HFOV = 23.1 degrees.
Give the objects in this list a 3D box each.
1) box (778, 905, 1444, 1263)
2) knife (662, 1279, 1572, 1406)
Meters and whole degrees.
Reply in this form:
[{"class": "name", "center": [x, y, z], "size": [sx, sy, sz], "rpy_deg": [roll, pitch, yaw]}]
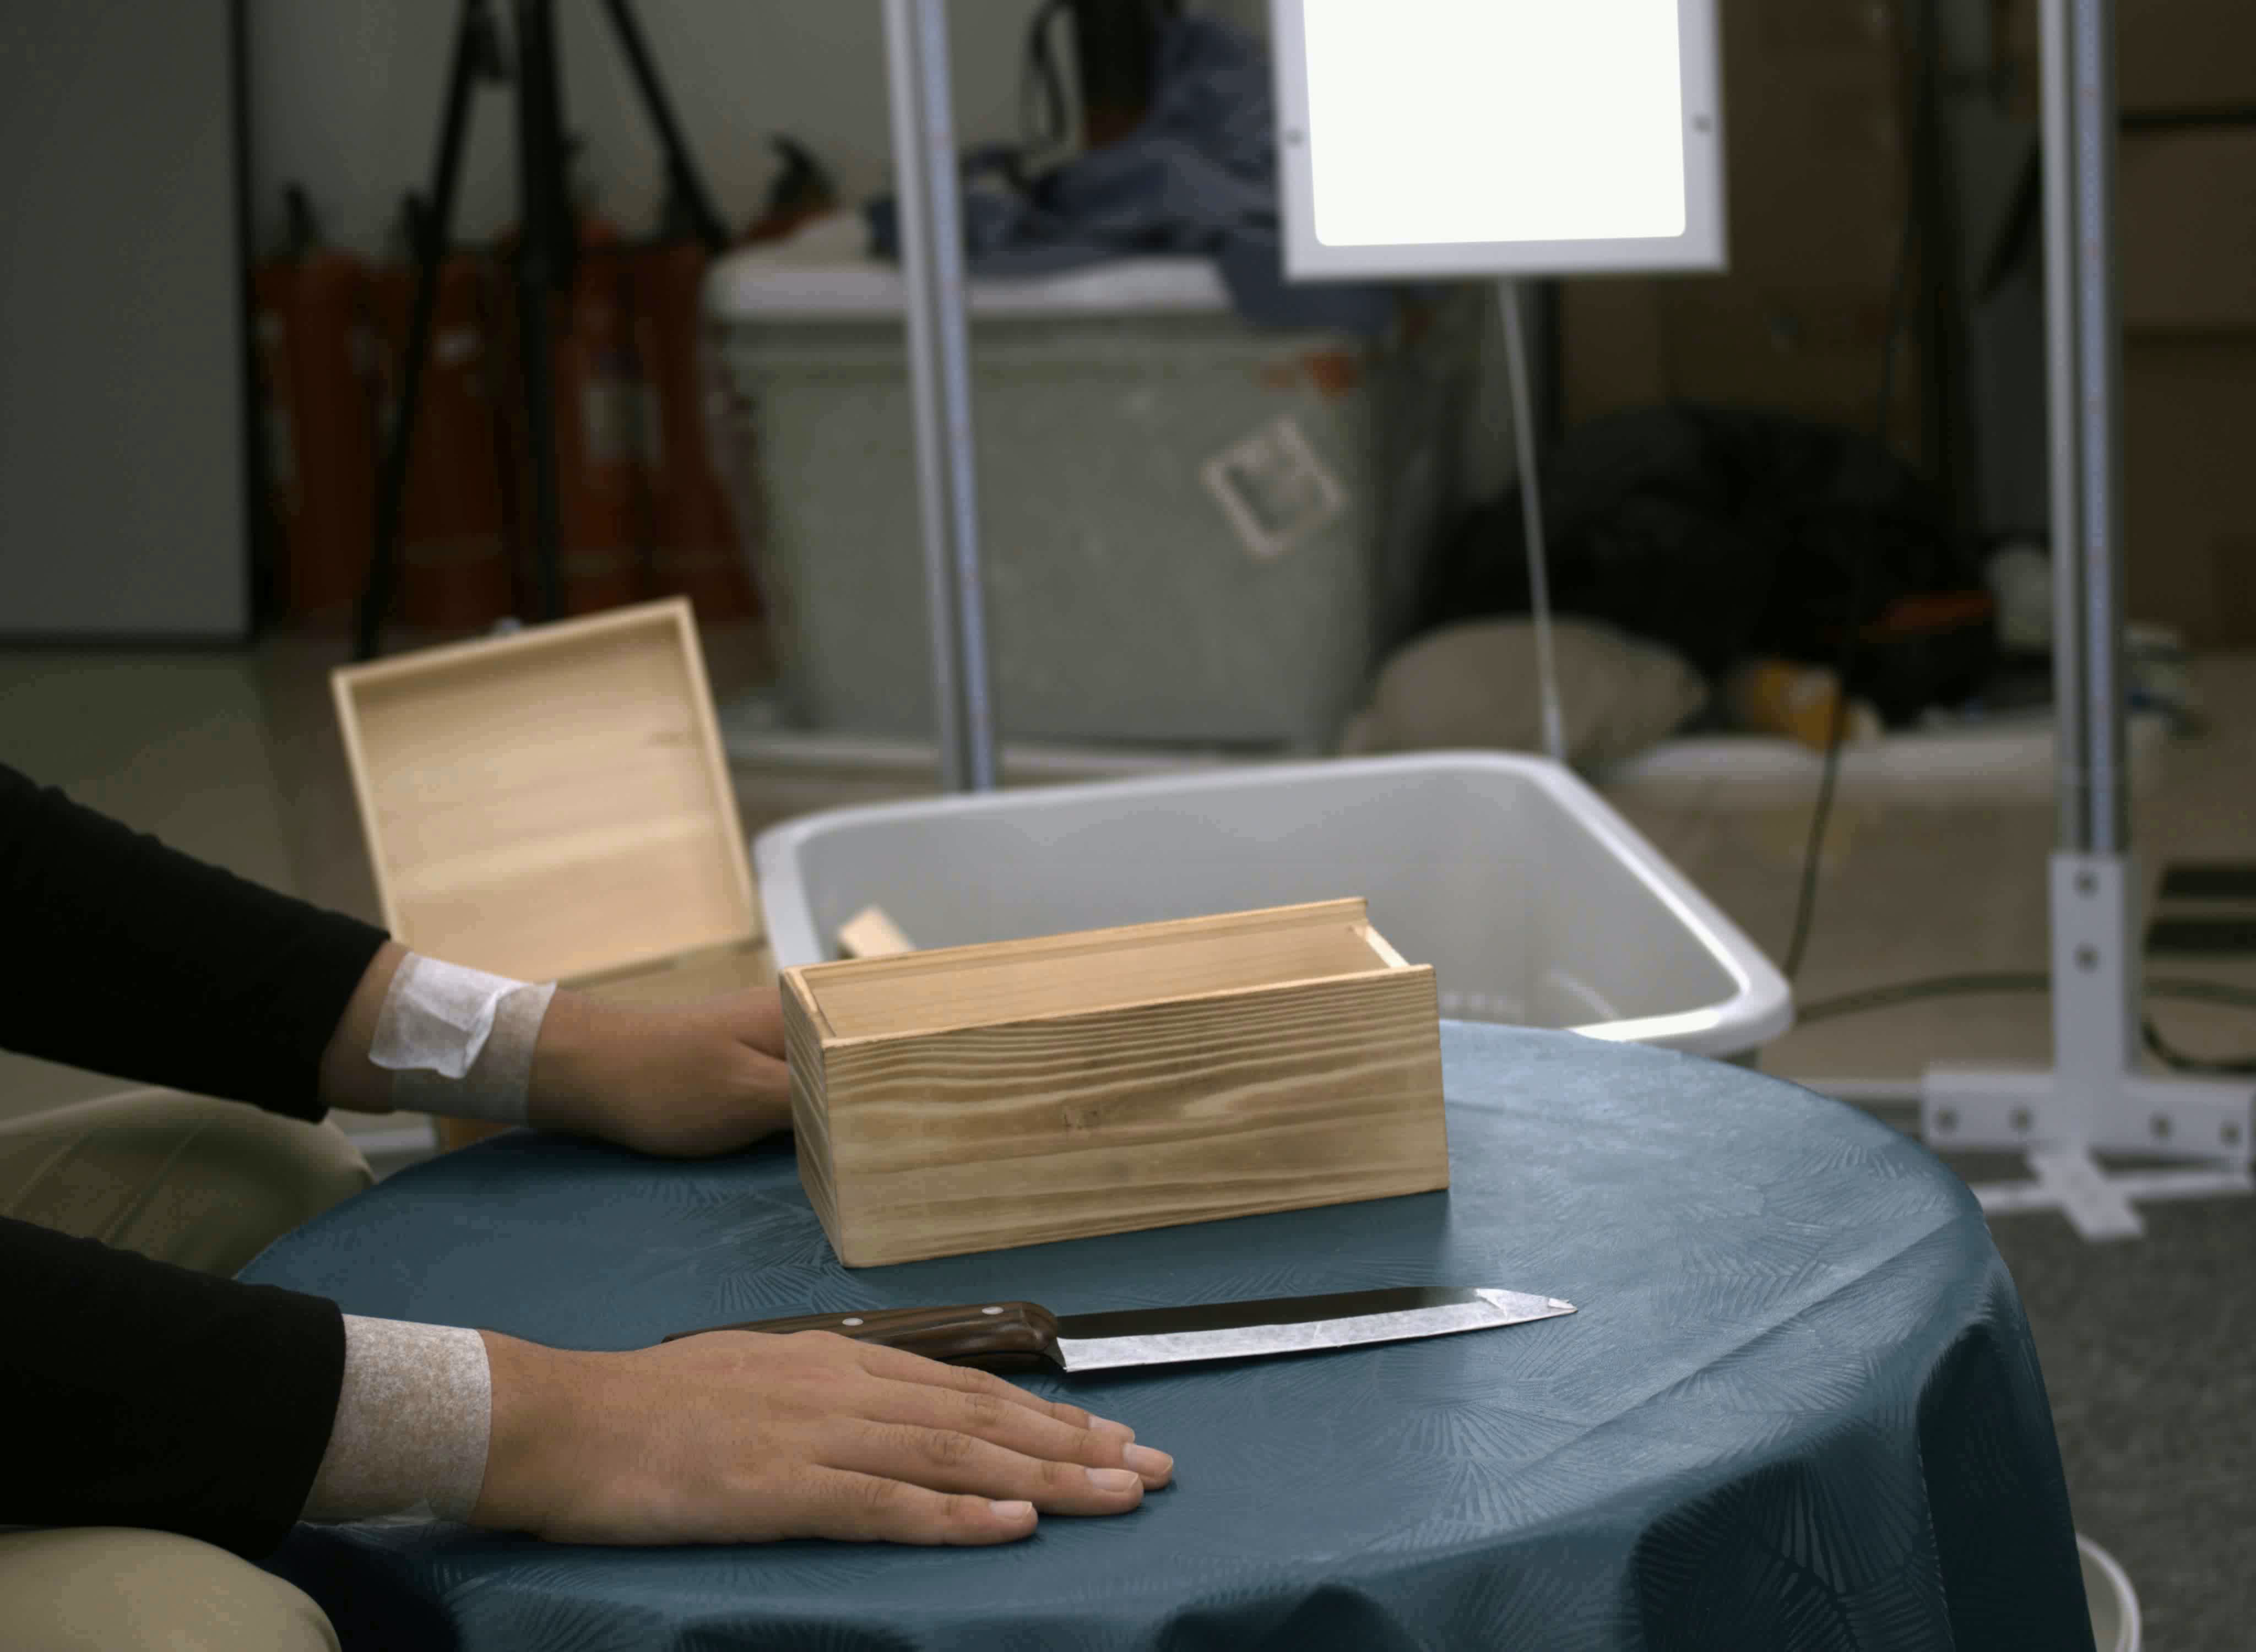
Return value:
[{"class": "box", "center": [-0.007, 0.087, 1.896], "size": [0.209, 0.080, 0.108], "rpy_deg": [-6, 13, -8]}, {"class": "knife", "center": [-0.002, 0.160, 1.730], "size": [0.287, 0.020, 0.050], "rpy_deg": [-4, 18, -4]}]
